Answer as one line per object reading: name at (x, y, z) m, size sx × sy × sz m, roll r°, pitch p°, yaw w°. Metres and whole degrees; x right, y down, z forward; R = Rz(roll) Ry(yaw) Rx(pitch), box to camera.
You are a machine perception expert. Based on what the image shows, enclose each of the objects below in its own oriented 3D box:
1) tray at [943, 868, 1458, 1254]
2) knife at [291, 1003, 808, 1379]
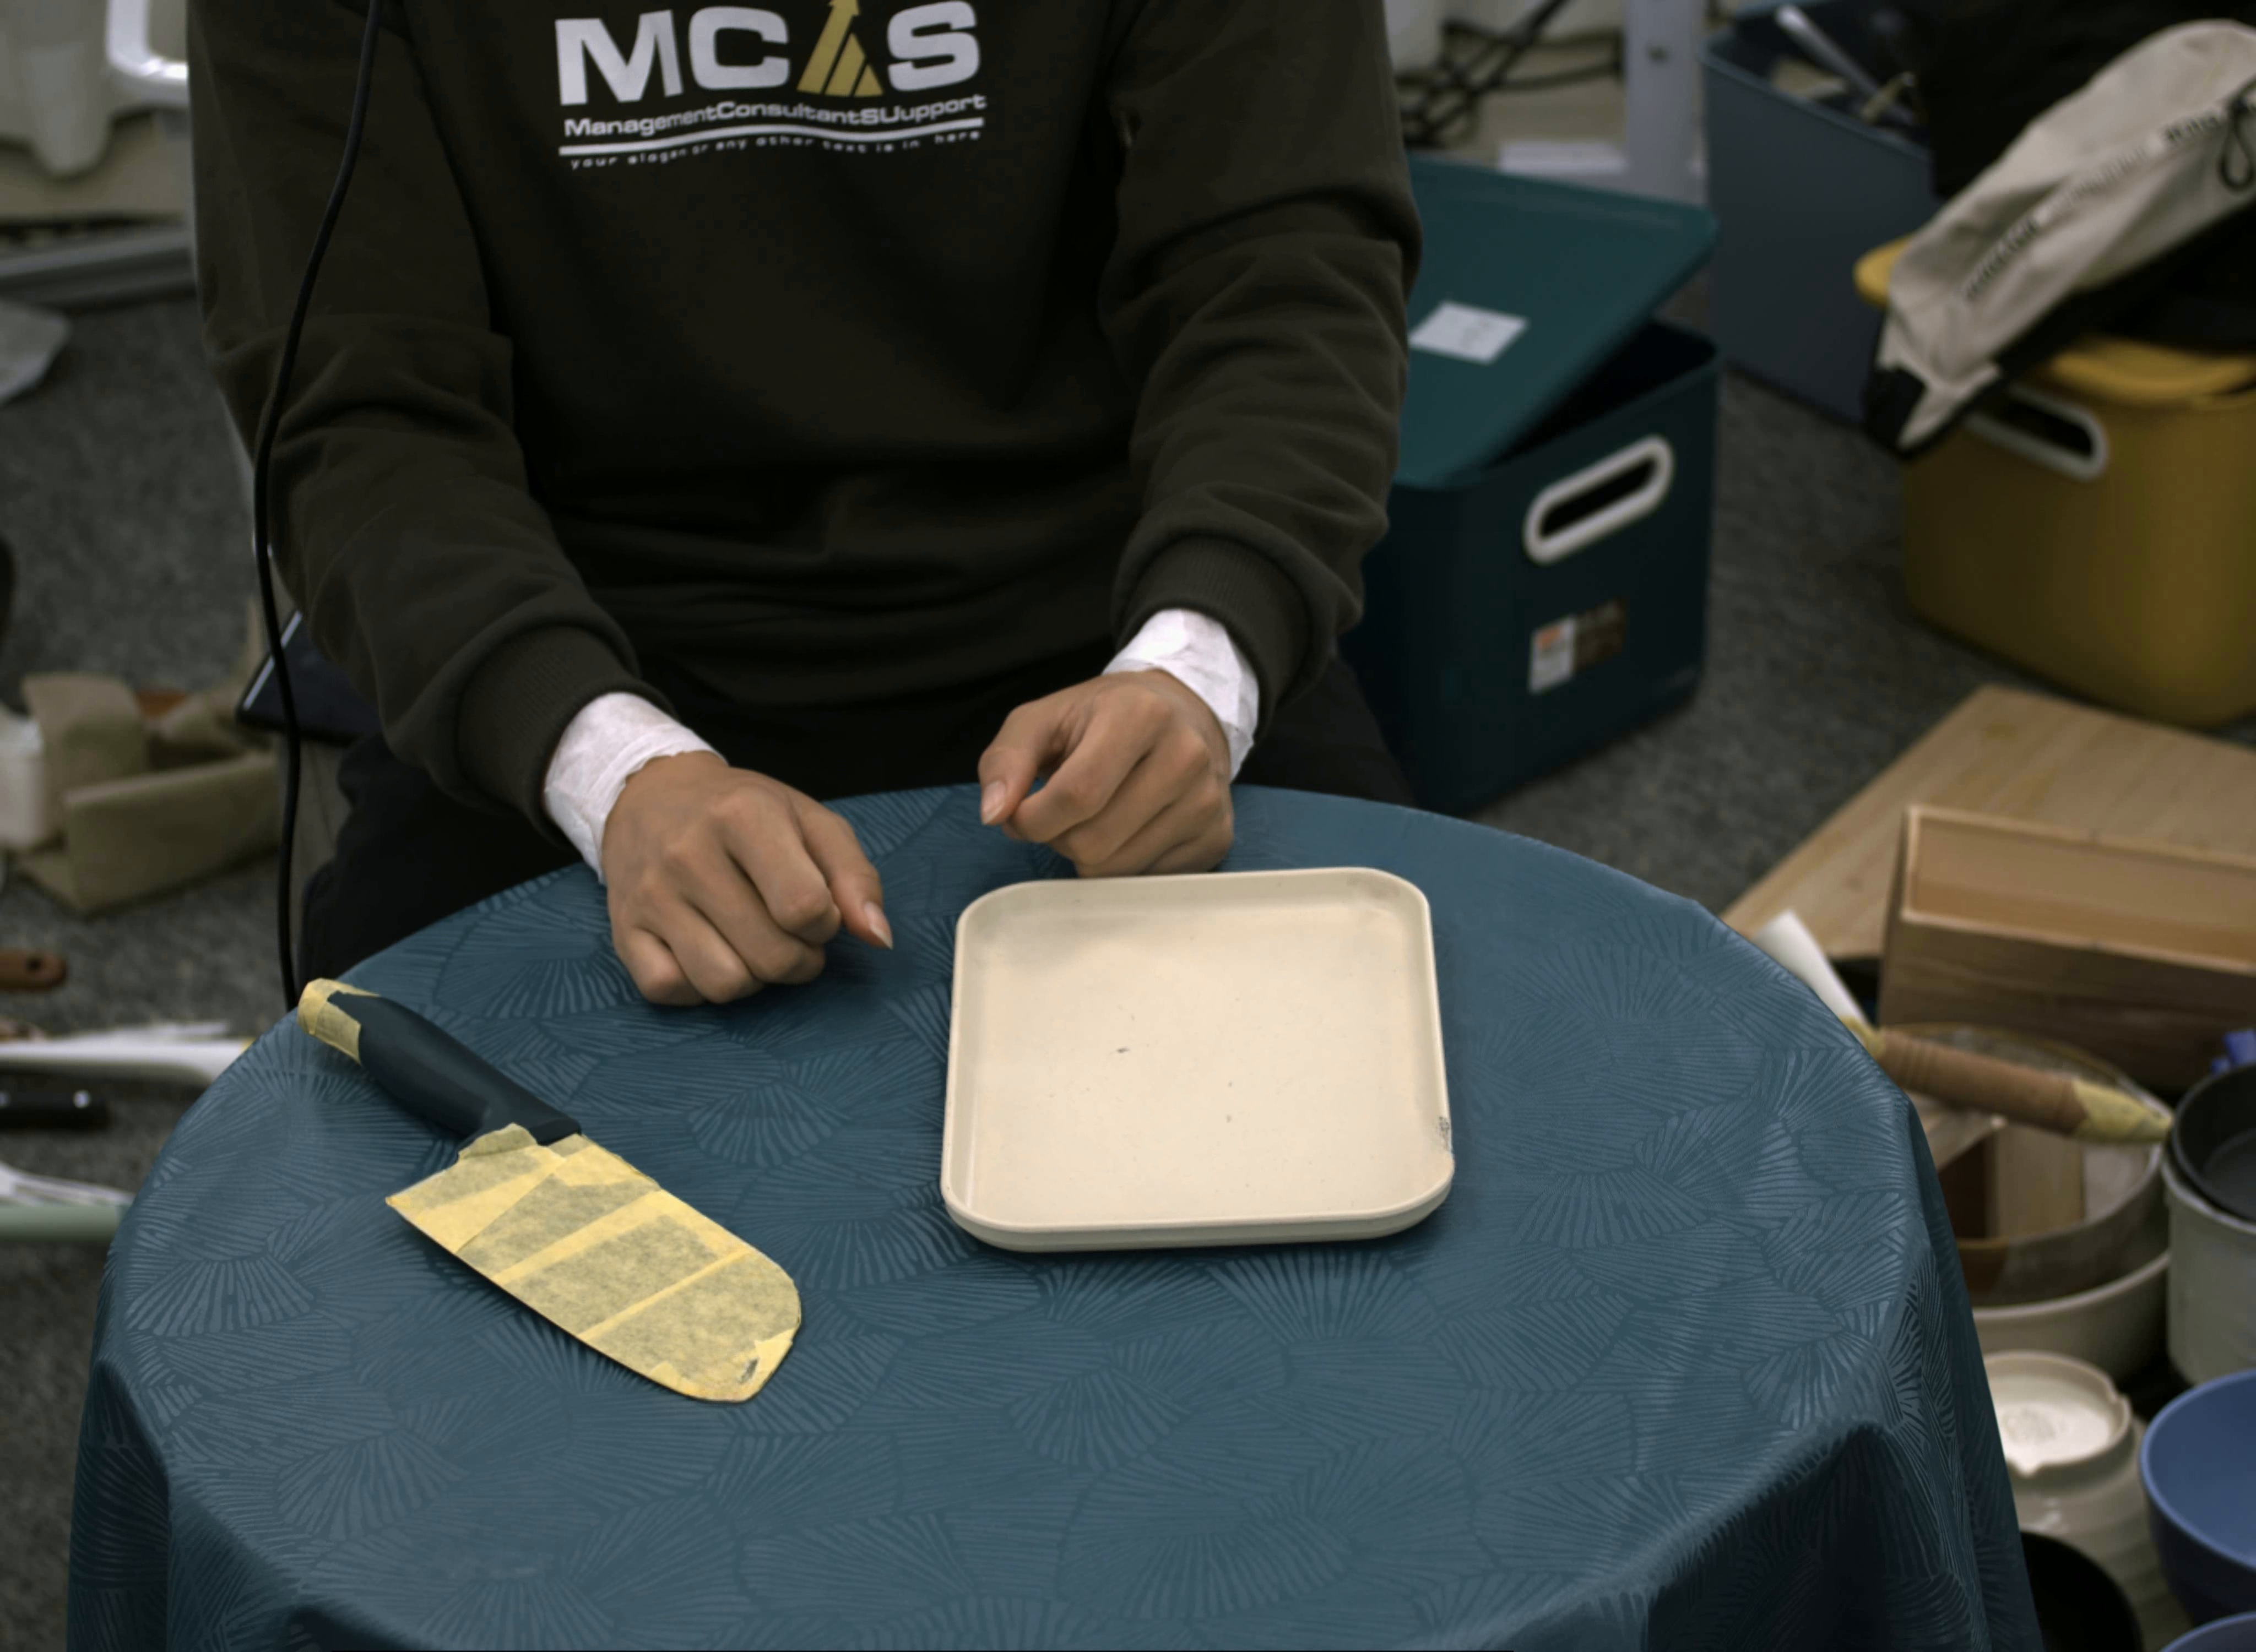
tray at (0.023, 0.079, 1.922) m, size 0.170 × 0.017 × 0.243 m, roll -3°, pitch 27°, yaw 1°
knife at (-0.203, 0.122, 1.863) m, size 0.082 × 0.027 × 0.290 m, roll -20°, pitch 33°, yaw -34°
